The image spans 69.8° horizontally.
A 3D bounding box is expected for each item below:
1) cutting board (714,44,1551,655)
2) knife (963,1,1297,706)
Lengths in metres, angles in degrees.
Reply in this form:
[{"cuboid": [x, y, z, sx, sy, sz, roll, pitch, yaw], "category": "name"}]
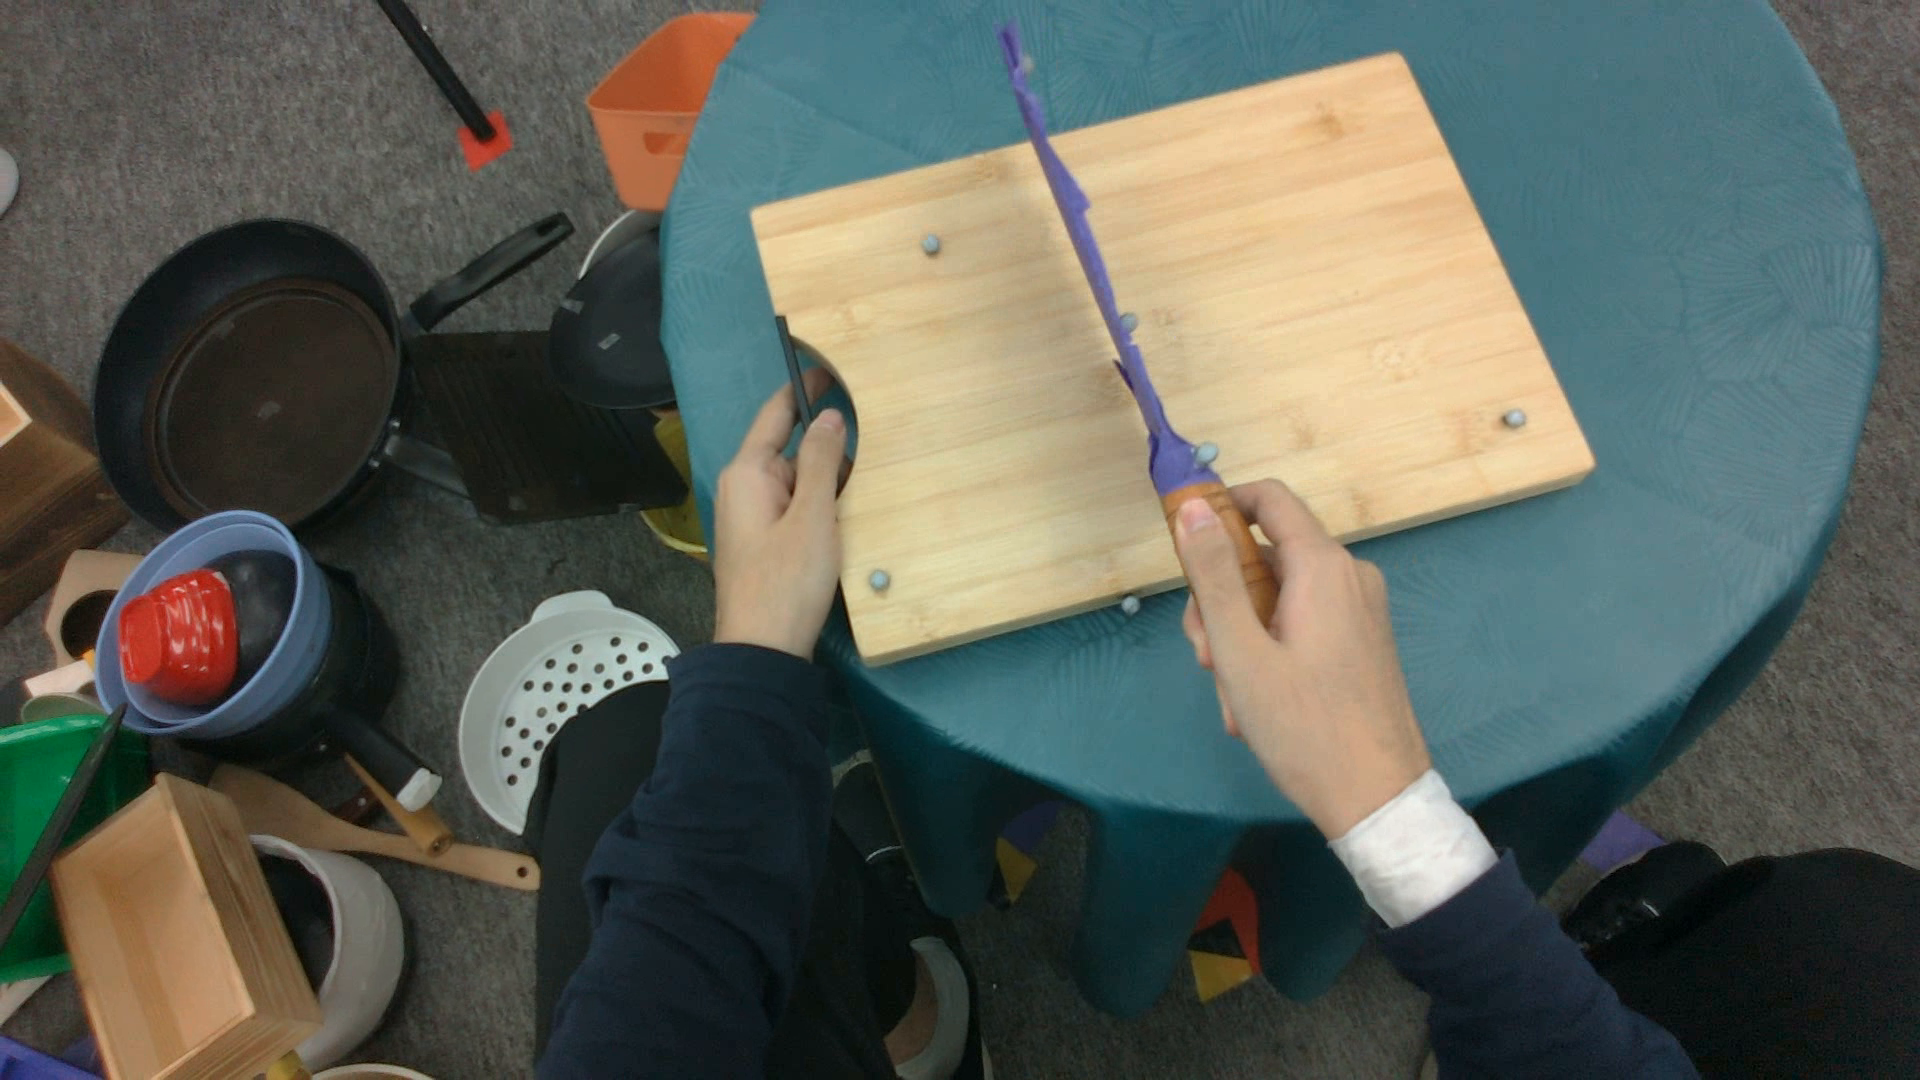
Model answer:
[{"cuboid": [0.077, -0.101, 0.659, 0.349, 0.023, 0.251, -15, 69, -5], "category": "cutting board"}, {"cuboid": [0.067, -0.079, 0.585, 0.032, 0.104, 0.316, -22, 75, 7], "category": "knife"}]
